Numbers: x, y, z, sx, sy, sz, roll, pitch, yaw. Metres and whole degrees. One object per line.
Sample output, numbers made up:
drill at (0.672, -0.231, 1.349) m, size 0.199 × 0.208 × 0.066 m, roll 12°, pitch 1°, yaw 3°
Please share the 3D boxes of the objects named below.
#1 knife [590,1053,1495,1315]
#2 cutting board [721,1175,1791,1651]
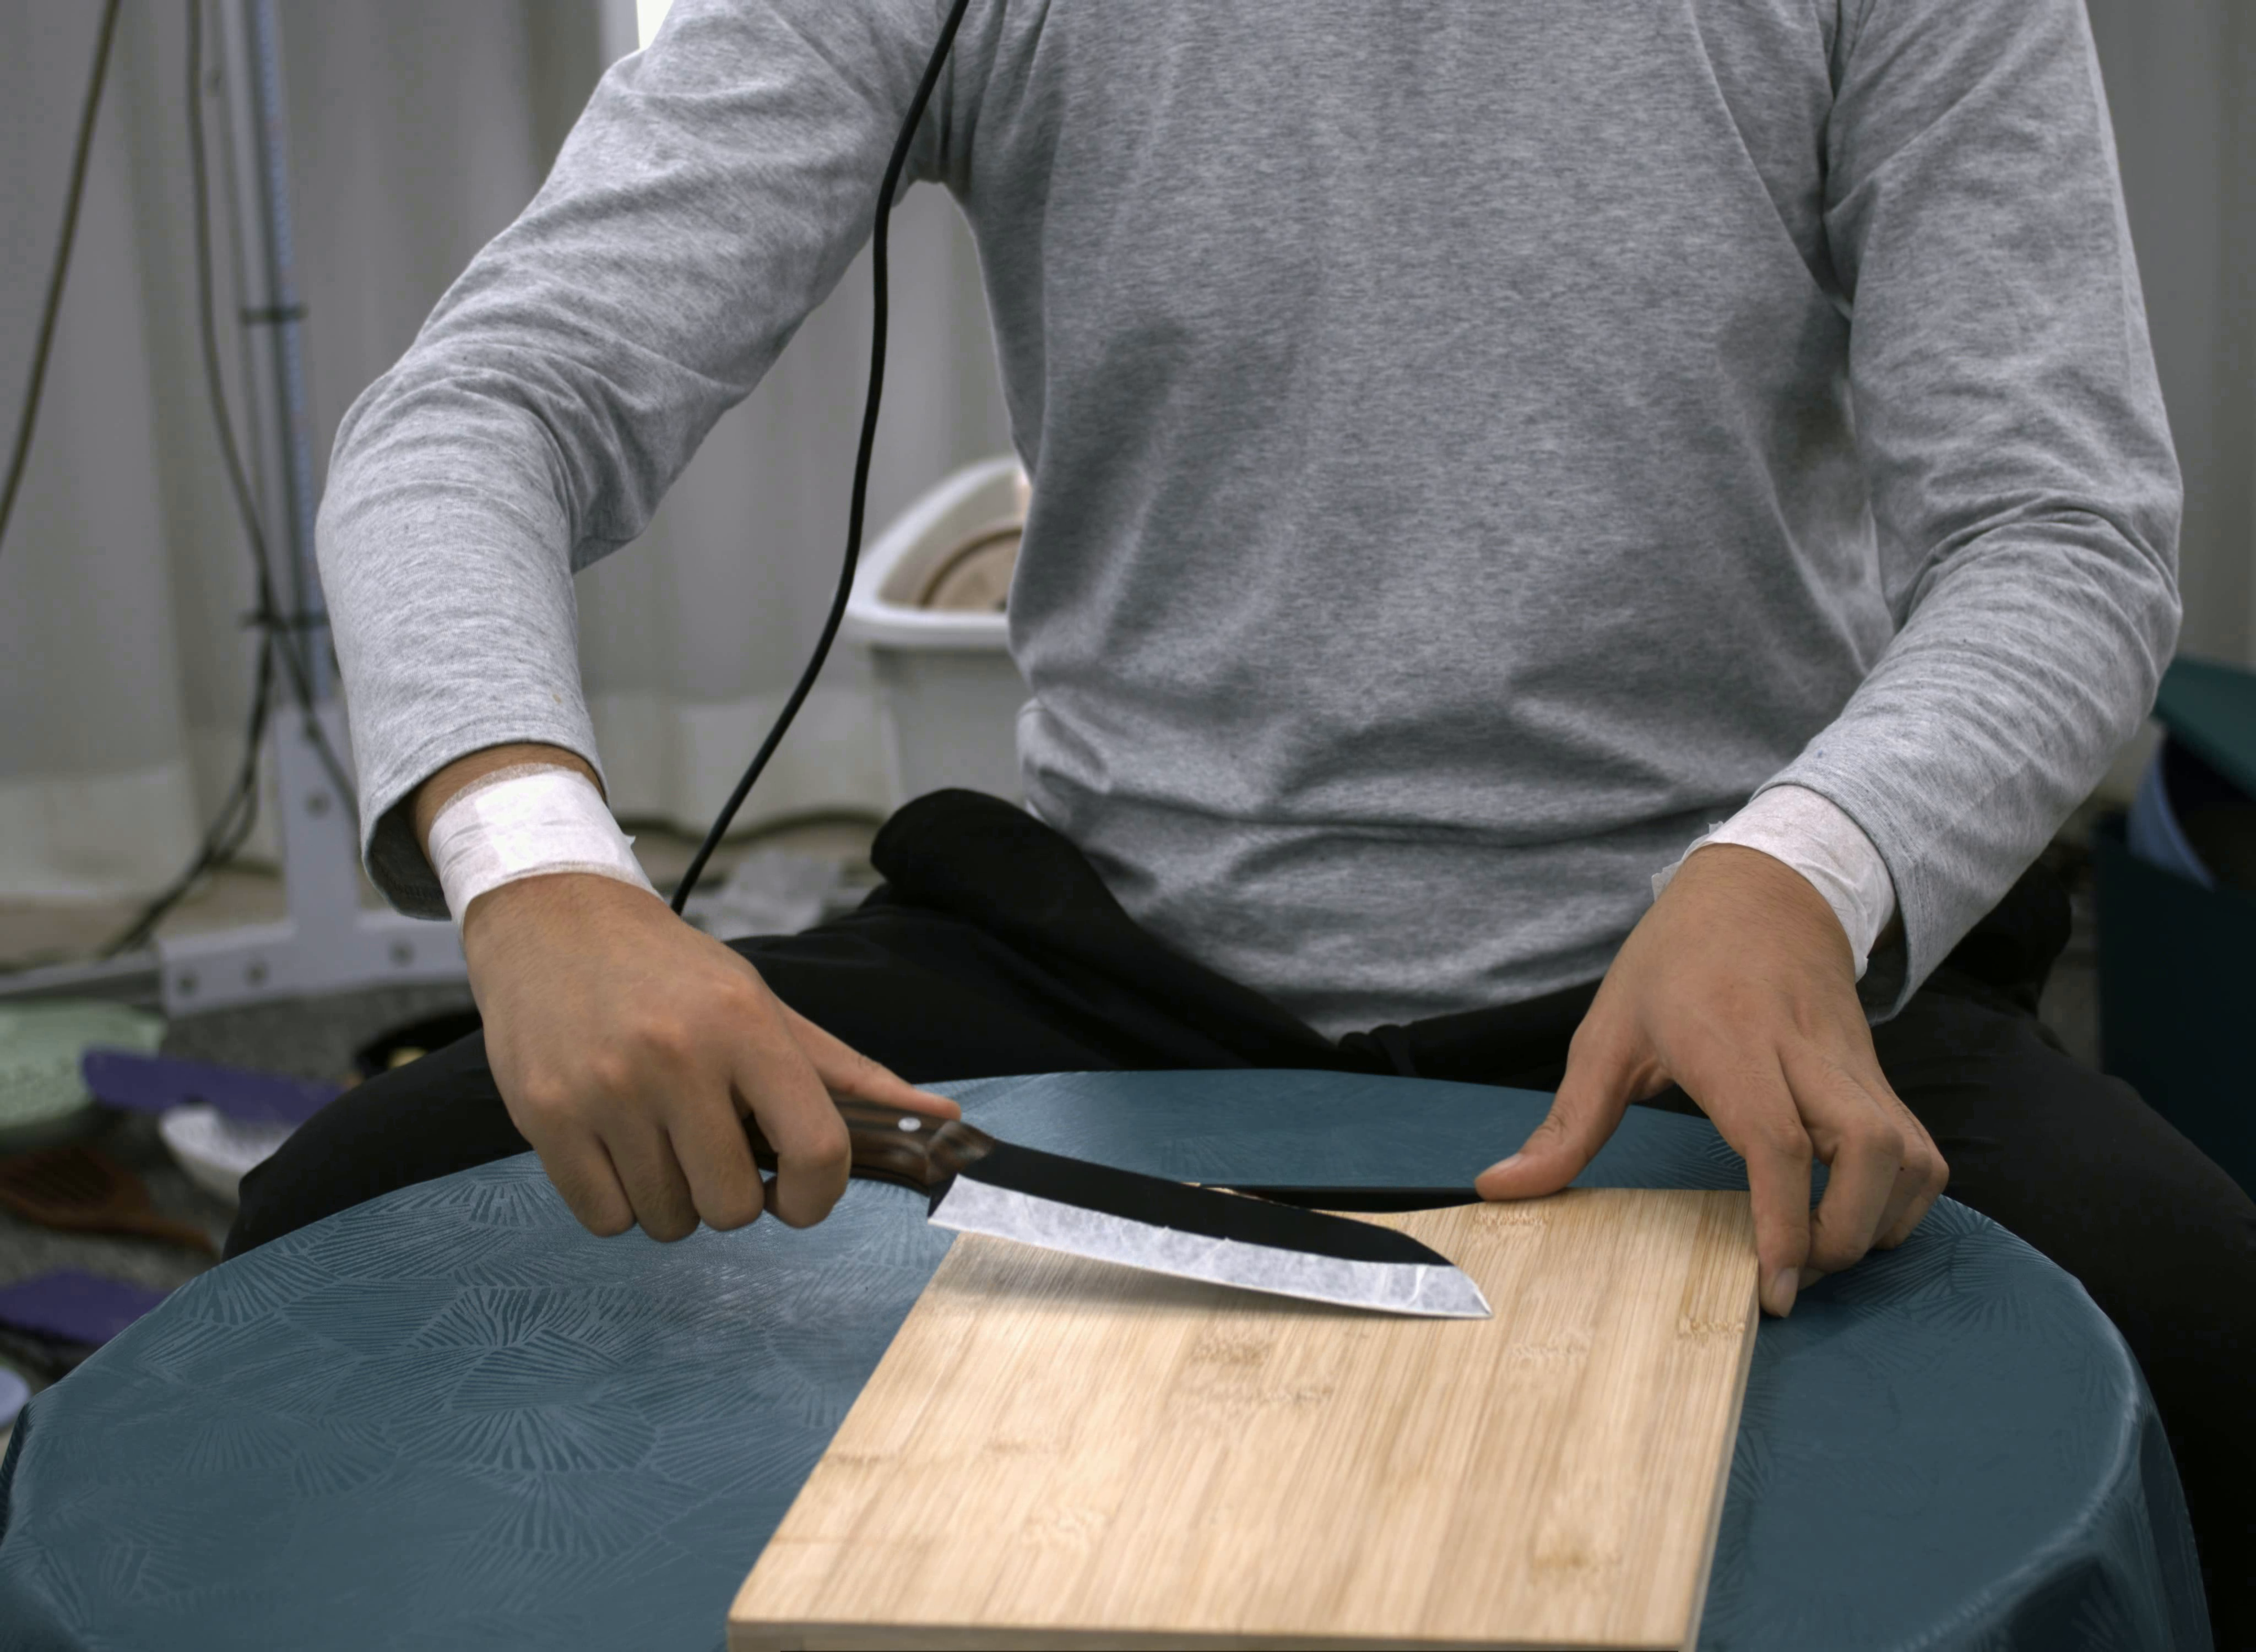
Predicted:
knife at (-0.029, 0.106, 1.591) m, size 0.289 × 0.020 × 0.050 m, roll 12°, pitch 35°, yaw 19°
cutting board at (0.048, 0.161, 1.503) m, size 0.250 × 0.023 × 0.350 m, roll 0°, pitch 15°, yaw 10°
